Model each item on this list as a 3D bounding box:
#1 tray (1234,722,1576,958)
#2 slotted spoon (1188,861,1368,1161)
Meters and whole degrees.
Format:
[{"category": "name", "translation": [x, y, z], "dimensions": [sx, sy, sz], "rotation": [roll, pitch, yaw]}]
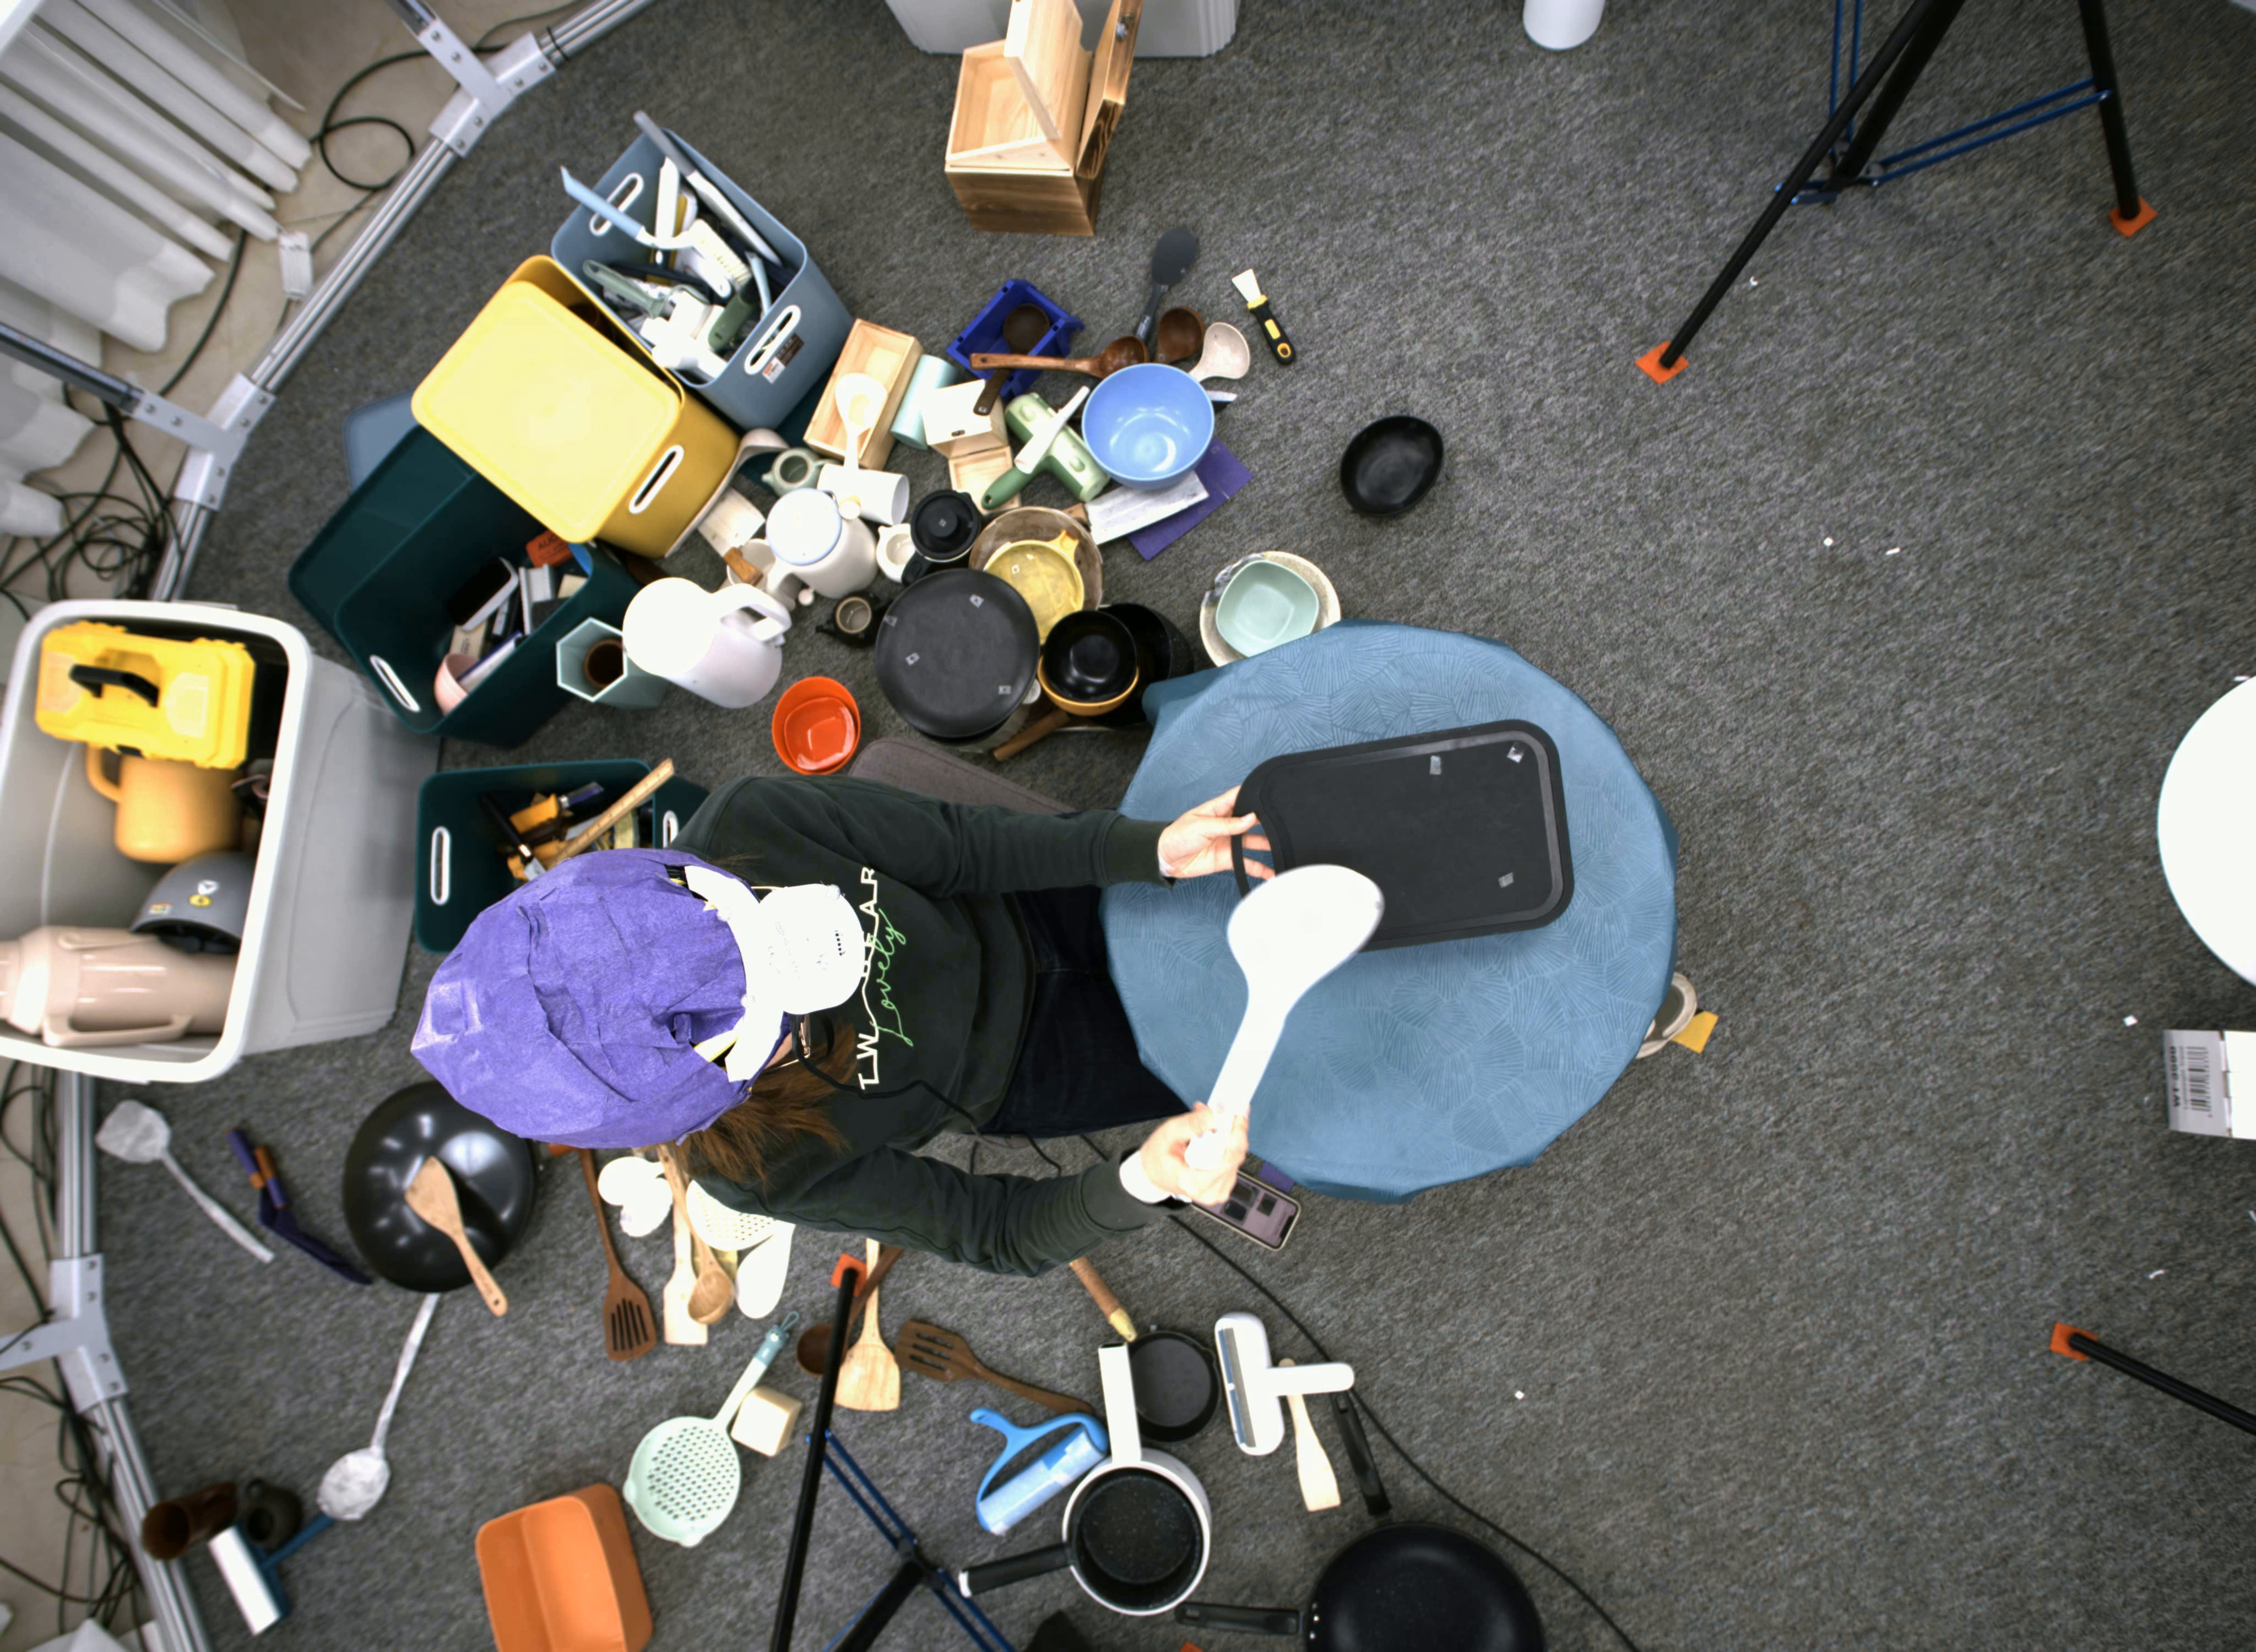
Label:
[{"category": "tray", "translation": [0.267, 0.018, 1.347], "dimensions": [0.327, 0.009, 0.213], "rotation": [-8, 104, 11]}, {"category": "slotted spoon", "translation": [0.120, 0.148, 1.192], "dimensions": [0.137, 0.340, 0.046], "rotation": [-8, 121, 32]}]
